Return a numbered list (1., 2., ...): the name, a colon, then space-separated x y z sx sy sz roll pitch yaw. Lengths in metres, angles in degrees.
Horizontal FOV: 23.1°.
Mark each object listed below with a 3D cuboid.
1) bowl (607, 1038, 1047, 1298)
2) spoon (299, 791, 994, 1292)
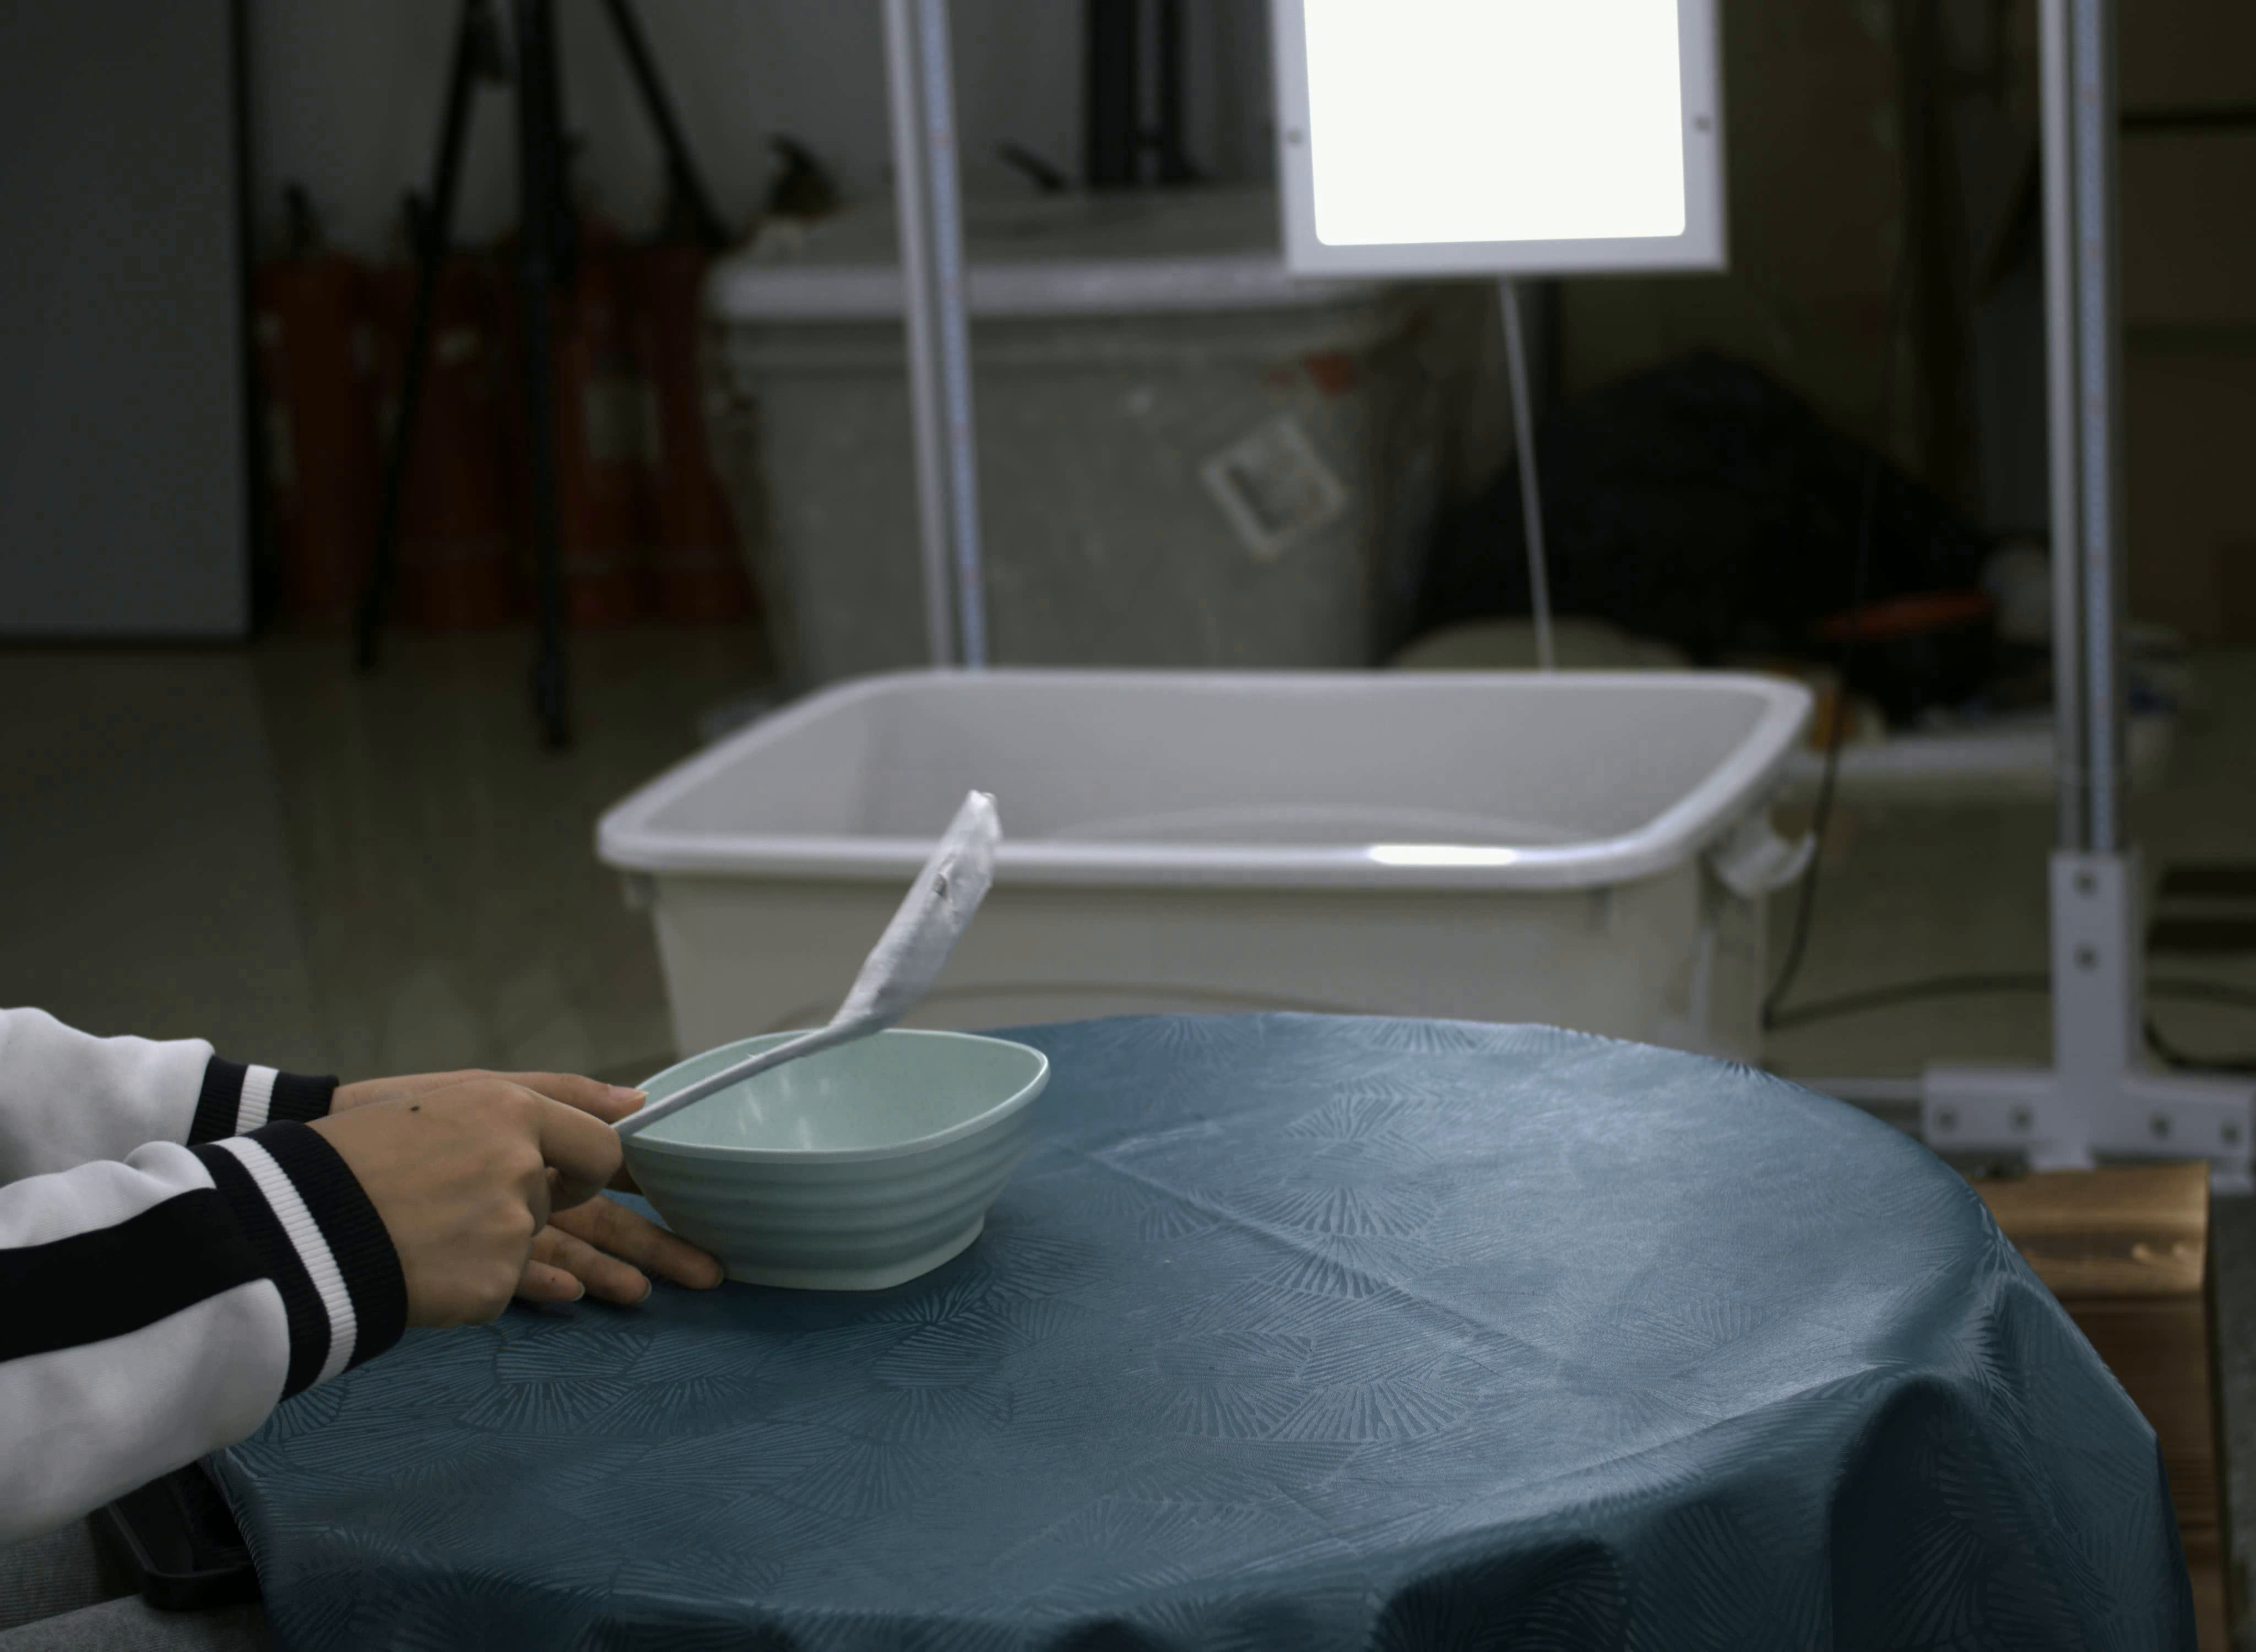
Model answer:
1. bowl: -0.099 0.118 1.858 0.151 0.059 0.151 -5 13 0
2. spoon: -0.148 0.068 1.704 0.271 0.060 0.102 -24 -21 -27
